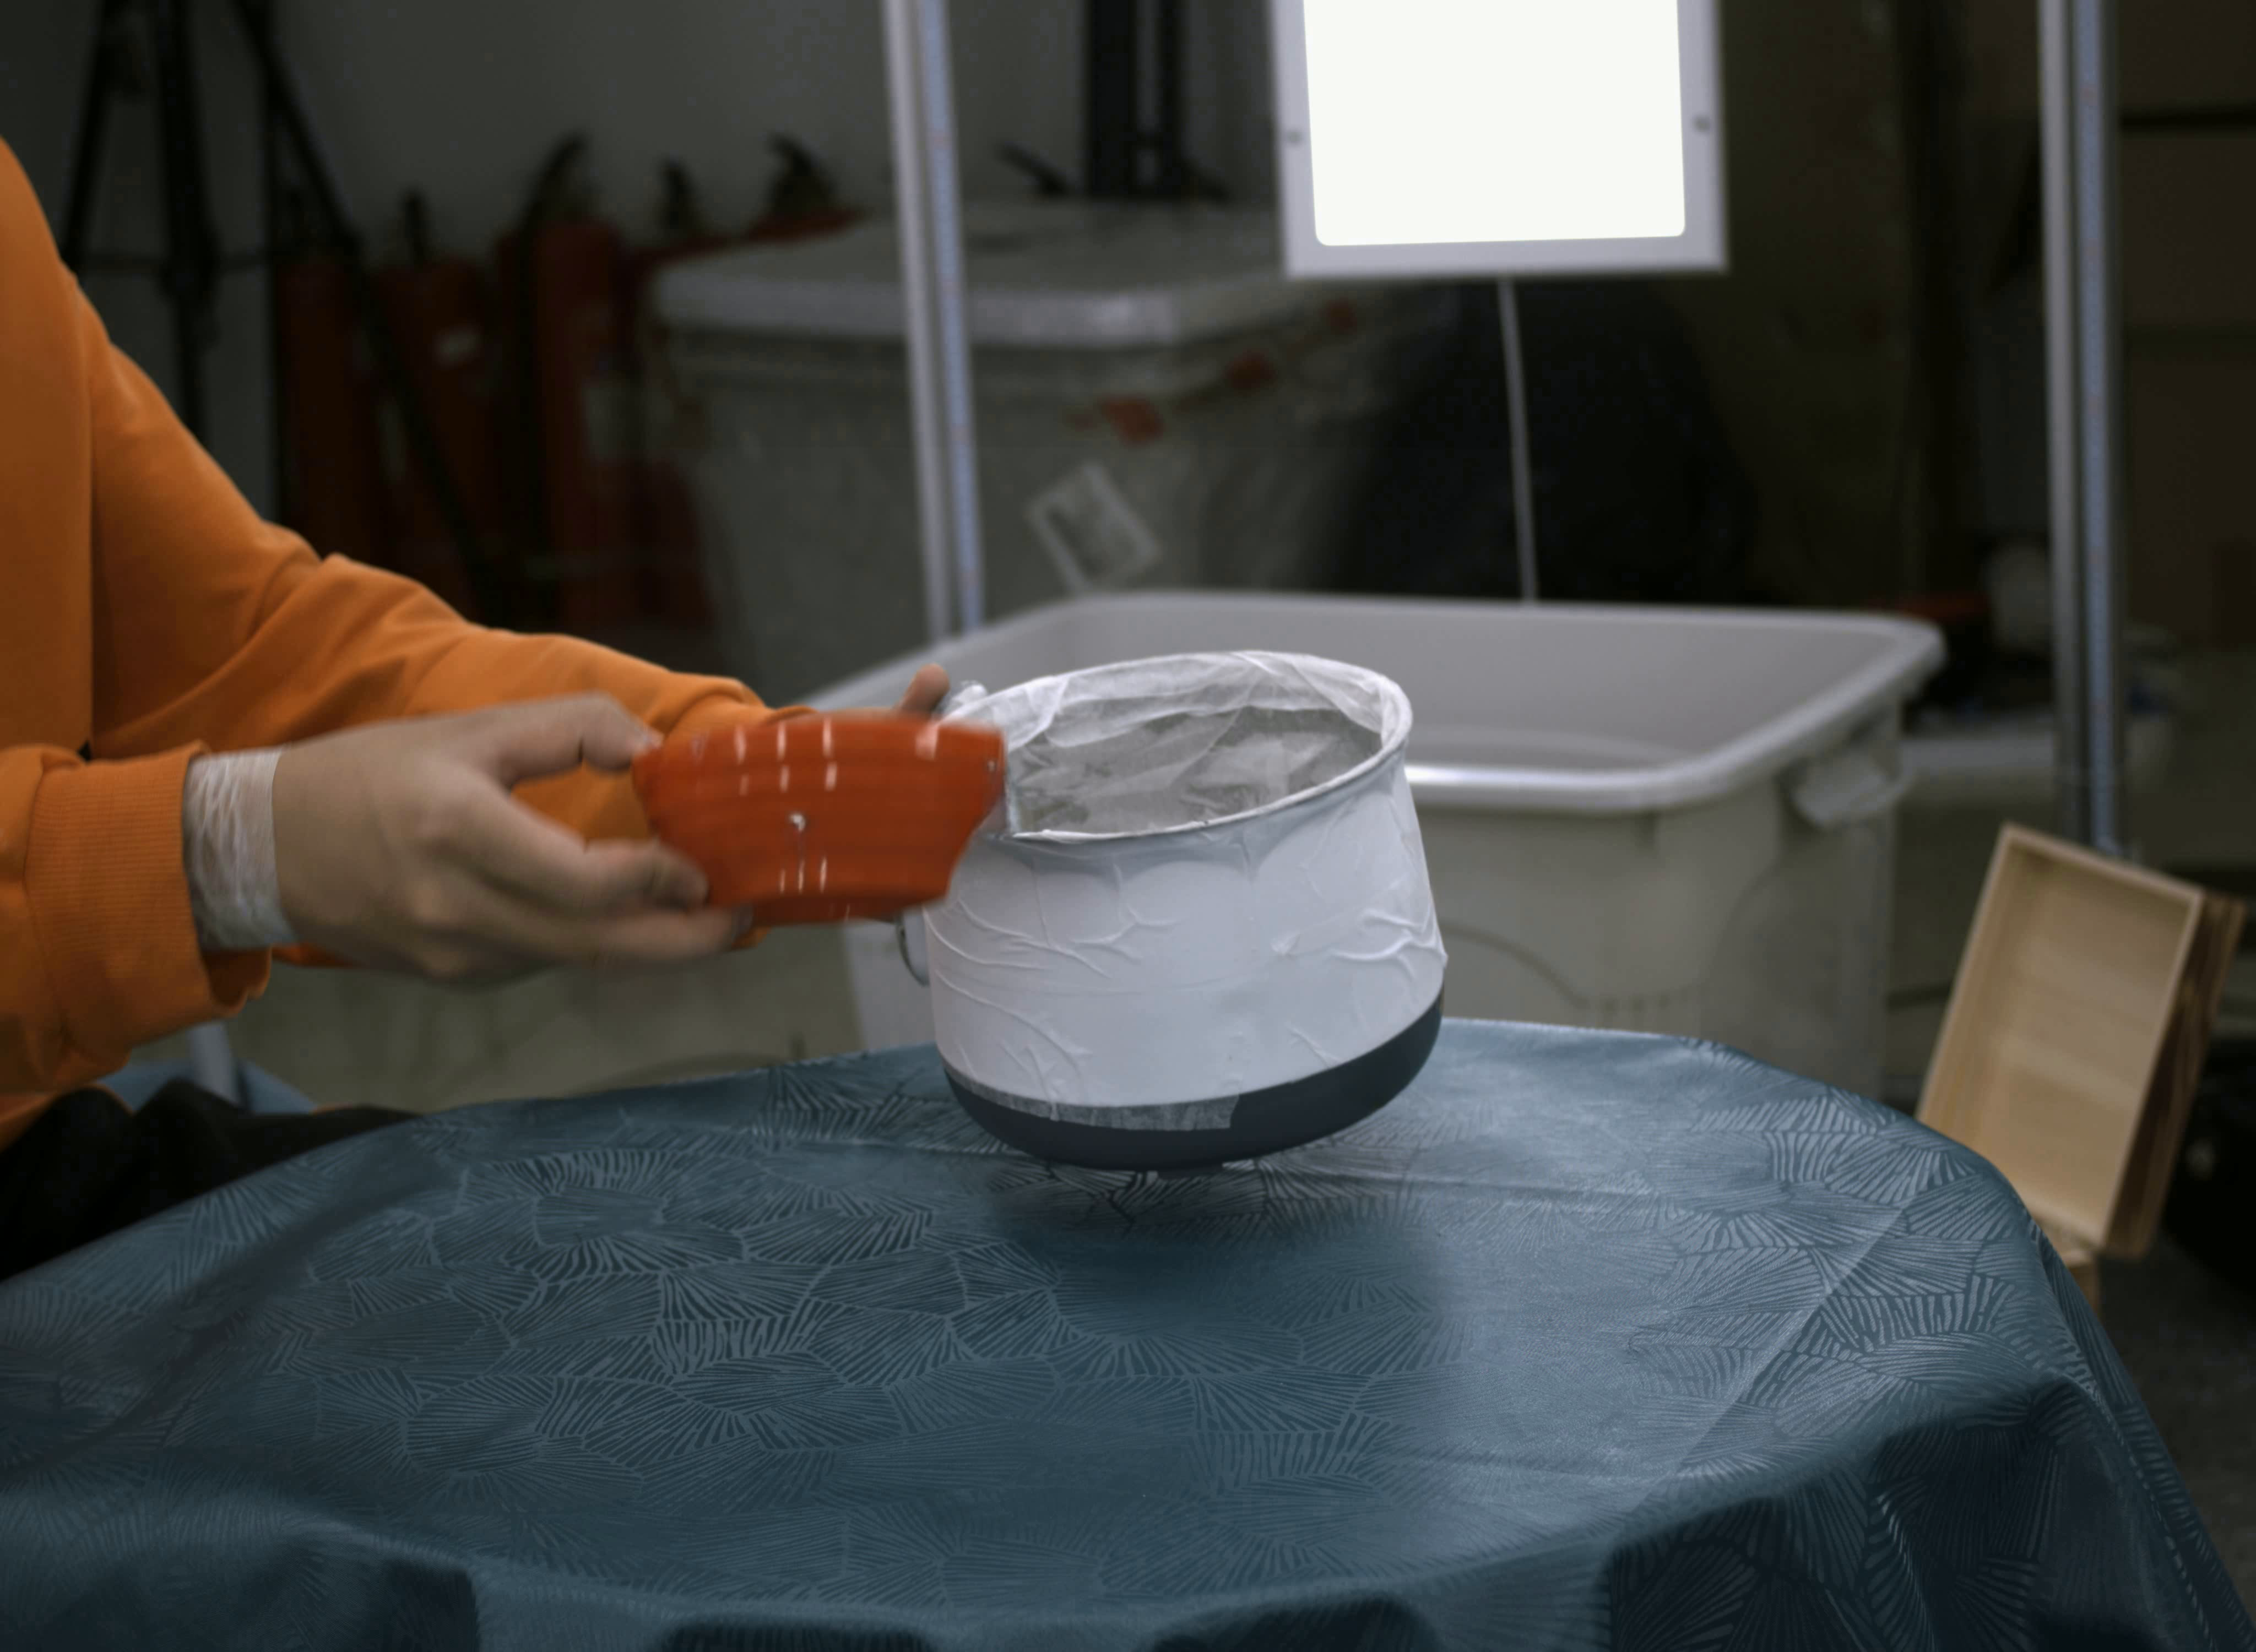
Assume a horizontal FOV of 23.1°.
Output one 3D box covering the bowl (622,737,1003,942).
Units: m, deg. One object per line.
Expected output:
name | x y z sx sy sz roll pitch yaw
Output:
bowl | -0.096 0.006 1.701 0.118 0.051 0.119 -3 -7 -2

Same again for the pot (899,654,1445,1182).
pot | -0.001 0.026 1.900 0.174 0.137 0.238 -23 24 -37
